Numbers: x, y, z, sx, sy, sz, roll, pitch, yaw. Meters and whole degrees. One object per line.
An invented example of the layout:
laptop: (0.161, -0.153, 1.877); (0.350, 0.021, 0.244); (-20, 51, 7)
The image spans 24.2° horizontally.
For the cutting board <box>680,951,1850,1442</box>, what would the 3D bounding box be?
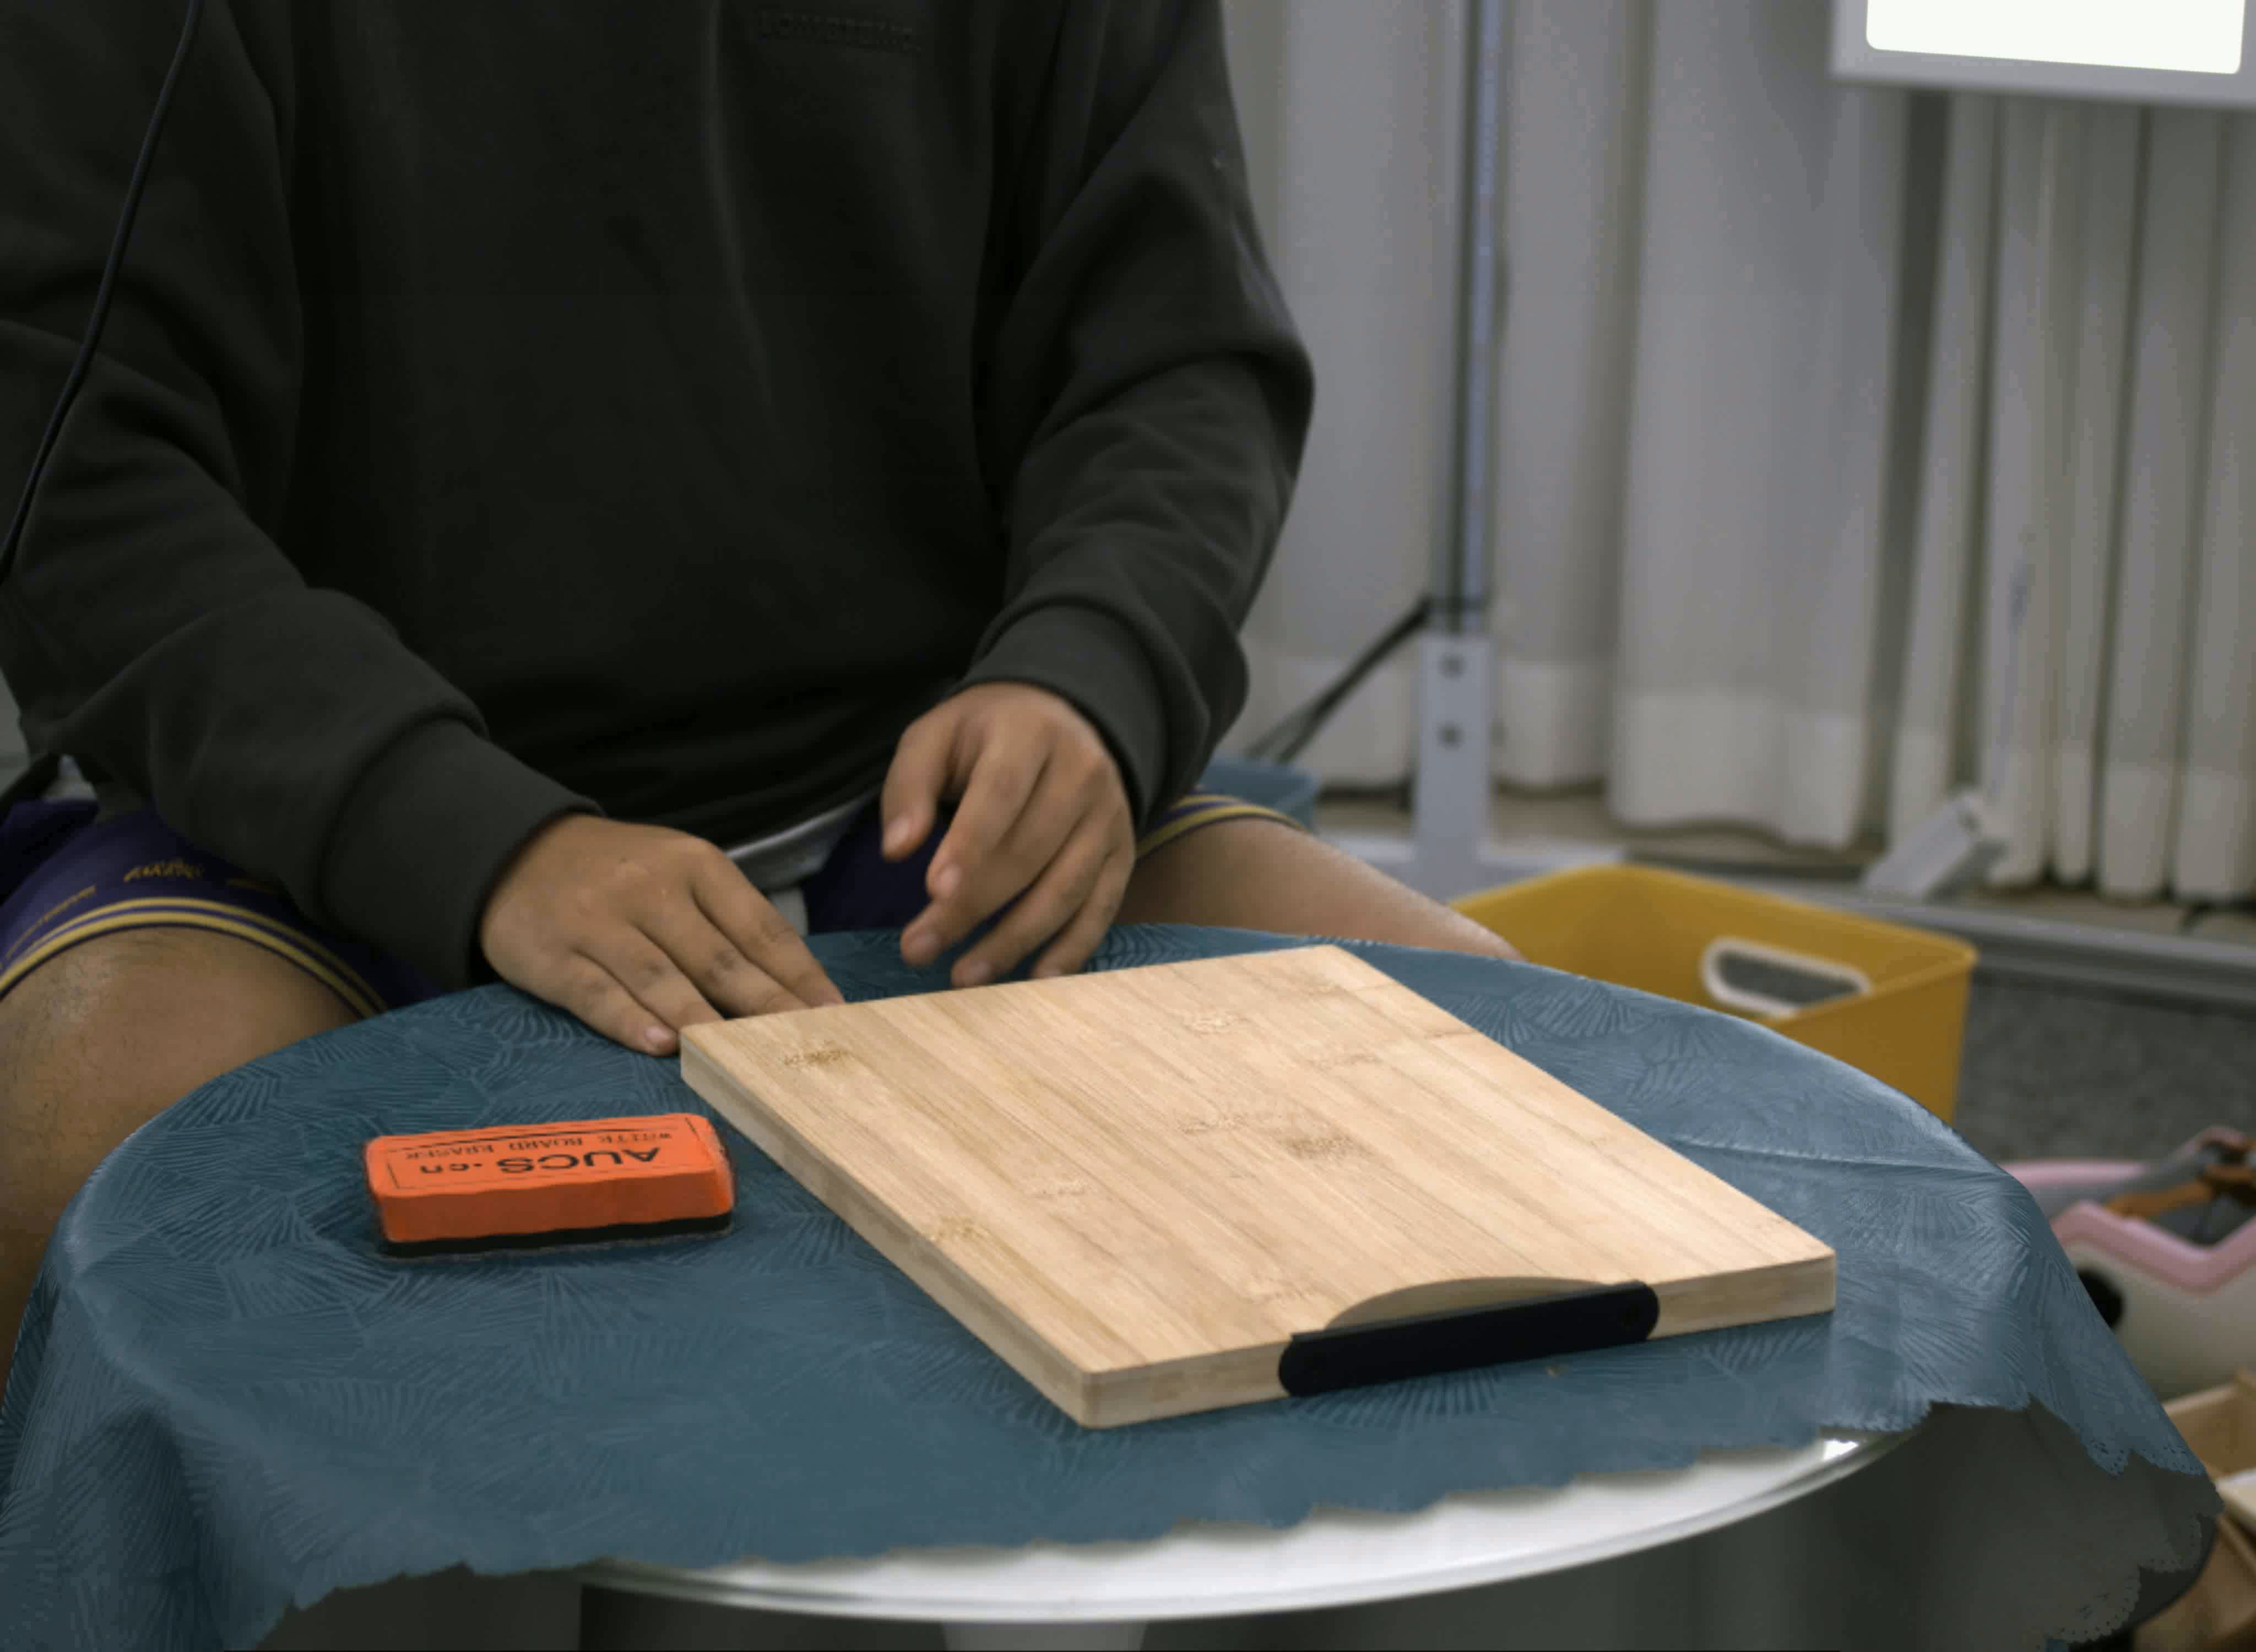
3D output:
cutting board: (0.031, 0.105, 1.620); (0.251, 0.024, 0.344); (-7, 17, -24)

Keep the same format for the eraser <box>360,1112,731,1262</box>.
eraser: (-0.176, 0.108, 1.586); (0.108, 0.023, 0.058); (-3, 17, -14)
